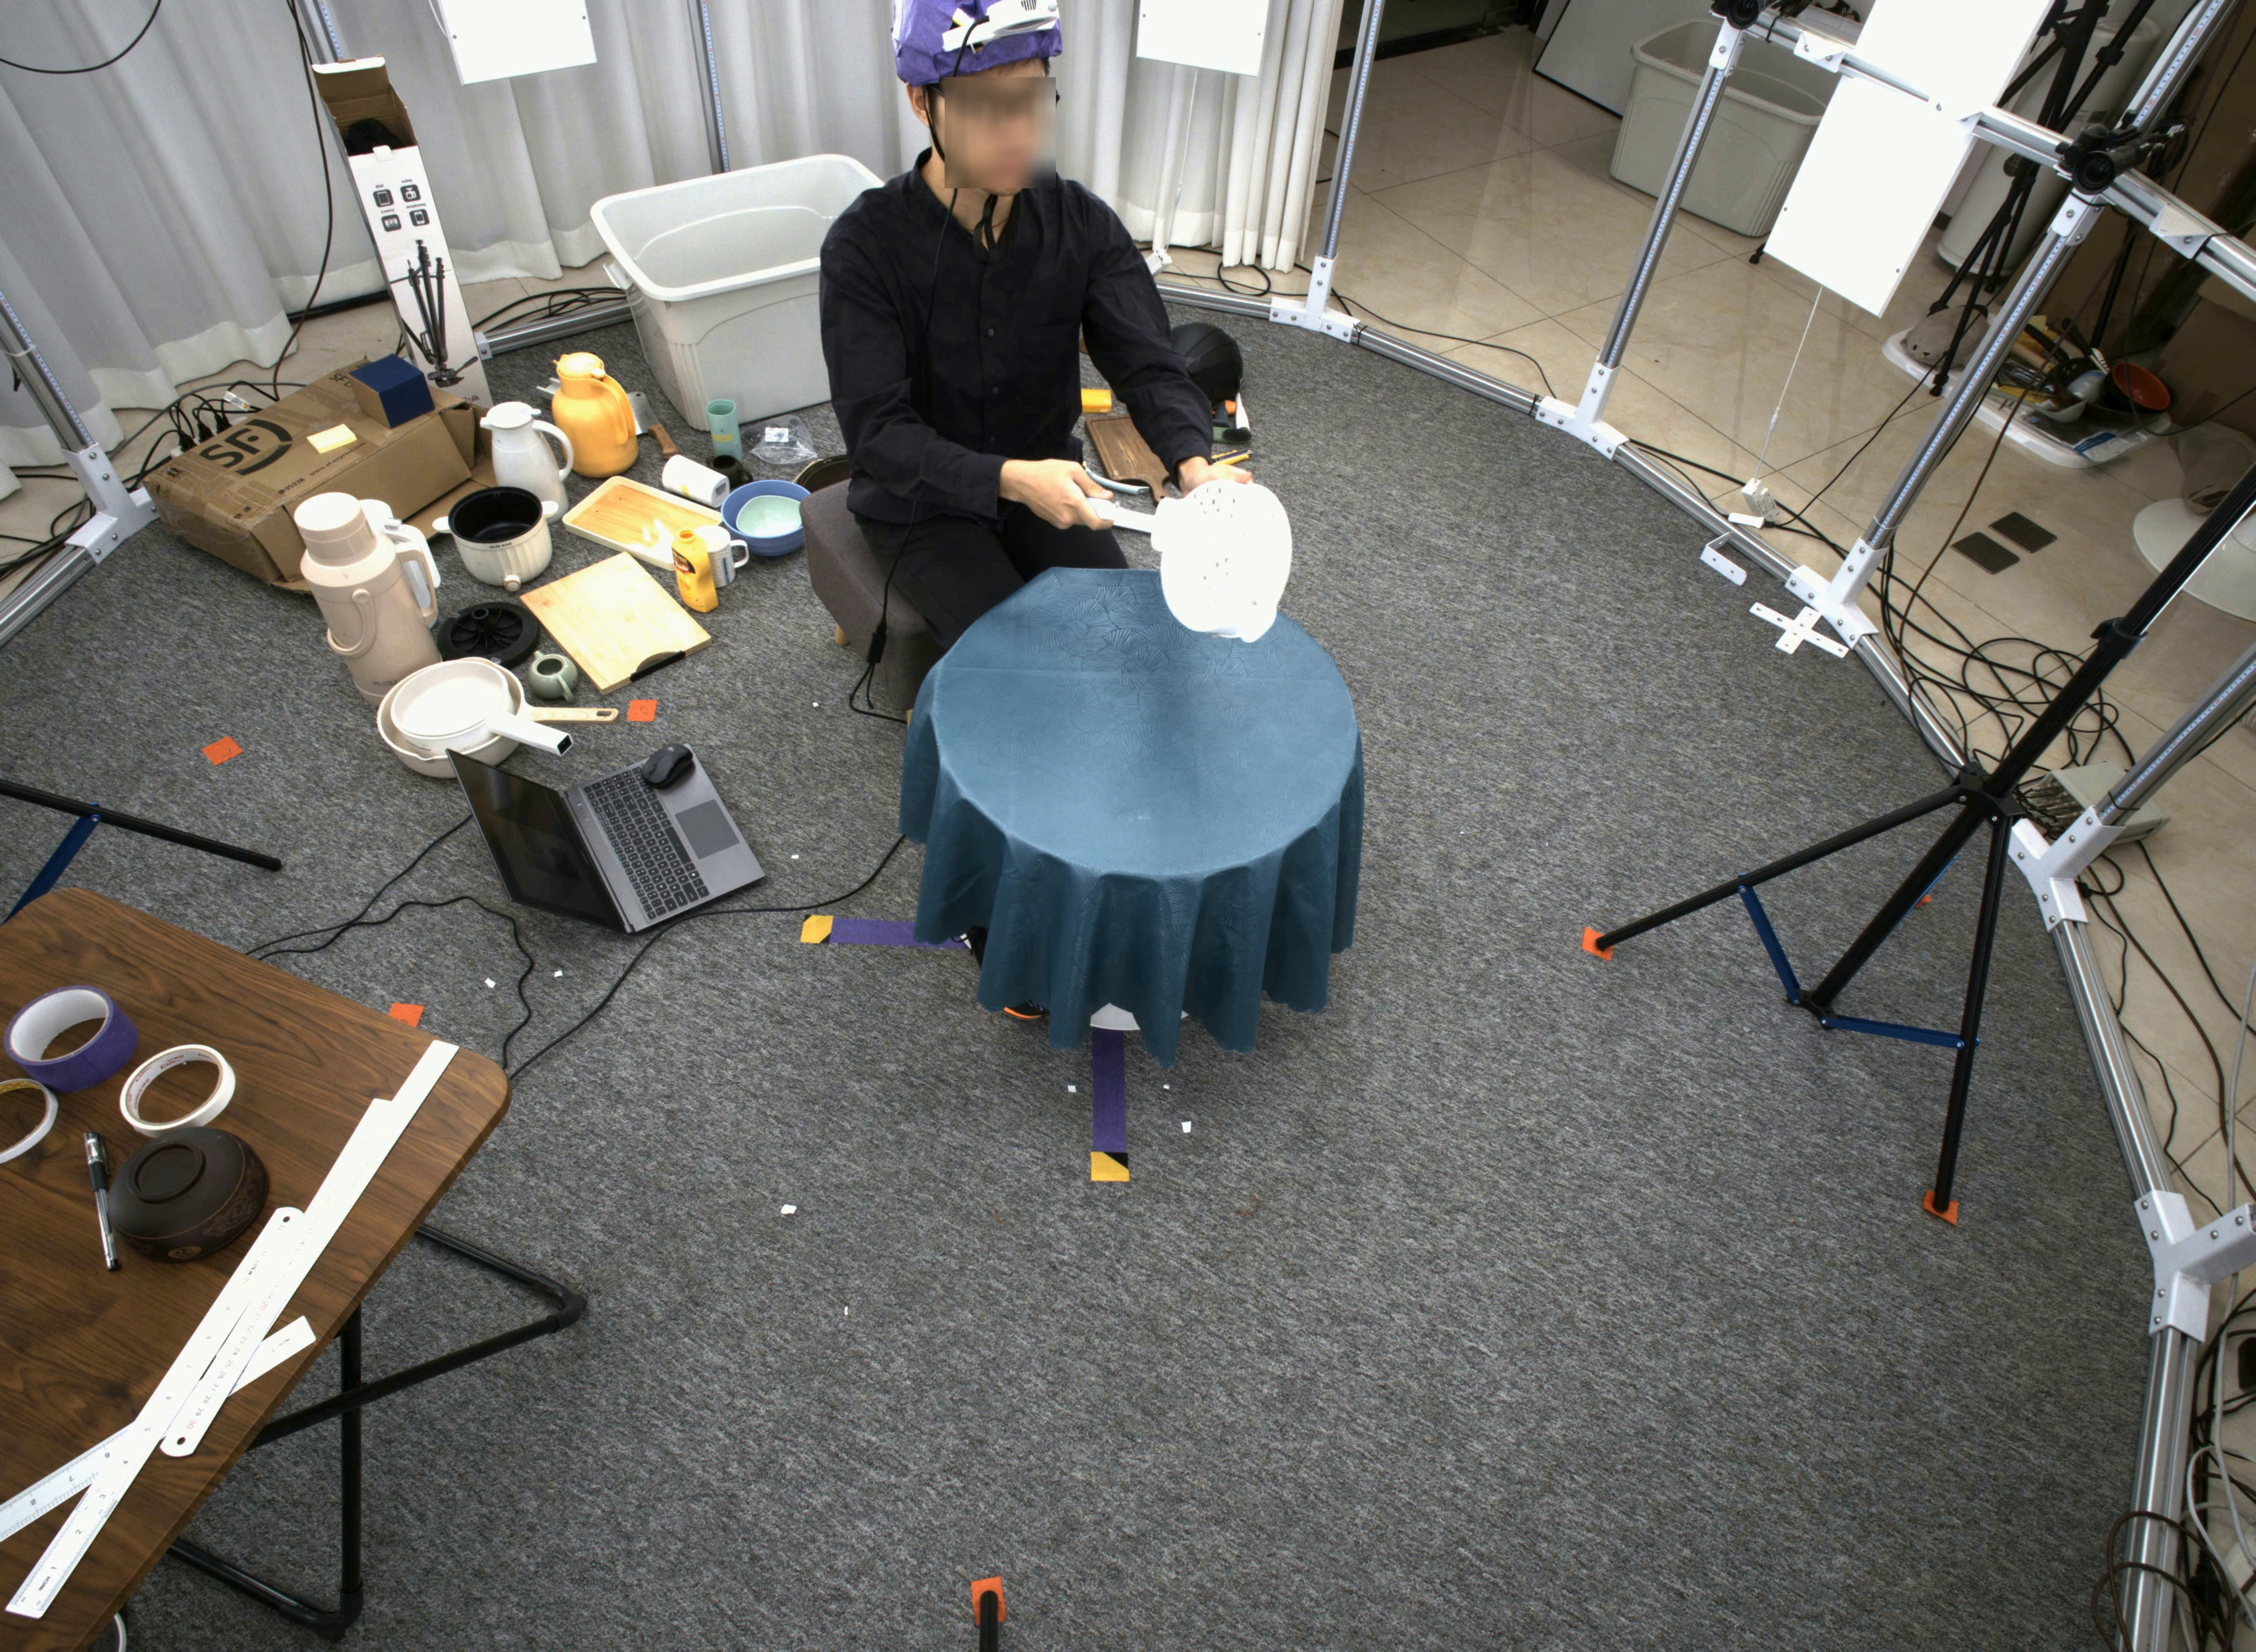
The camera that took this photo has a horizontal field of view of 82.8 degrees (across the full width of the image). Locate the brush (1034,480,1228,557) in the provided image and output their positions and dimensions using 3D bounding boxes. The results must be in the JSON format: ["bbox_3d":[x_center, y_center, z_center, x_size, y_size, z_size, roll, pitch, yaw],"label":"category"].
[{"bbox_3d":[0.010,-0.419,1.706,0.330,0.083,0.083,26,76,38],"label":"brush"}]

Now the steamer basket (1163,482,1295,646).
[{"bbox_3d":[0.125,-0.342,1.661,0.069,0.199,0.235,2,61,-36],"label":"steamer basket"}]
